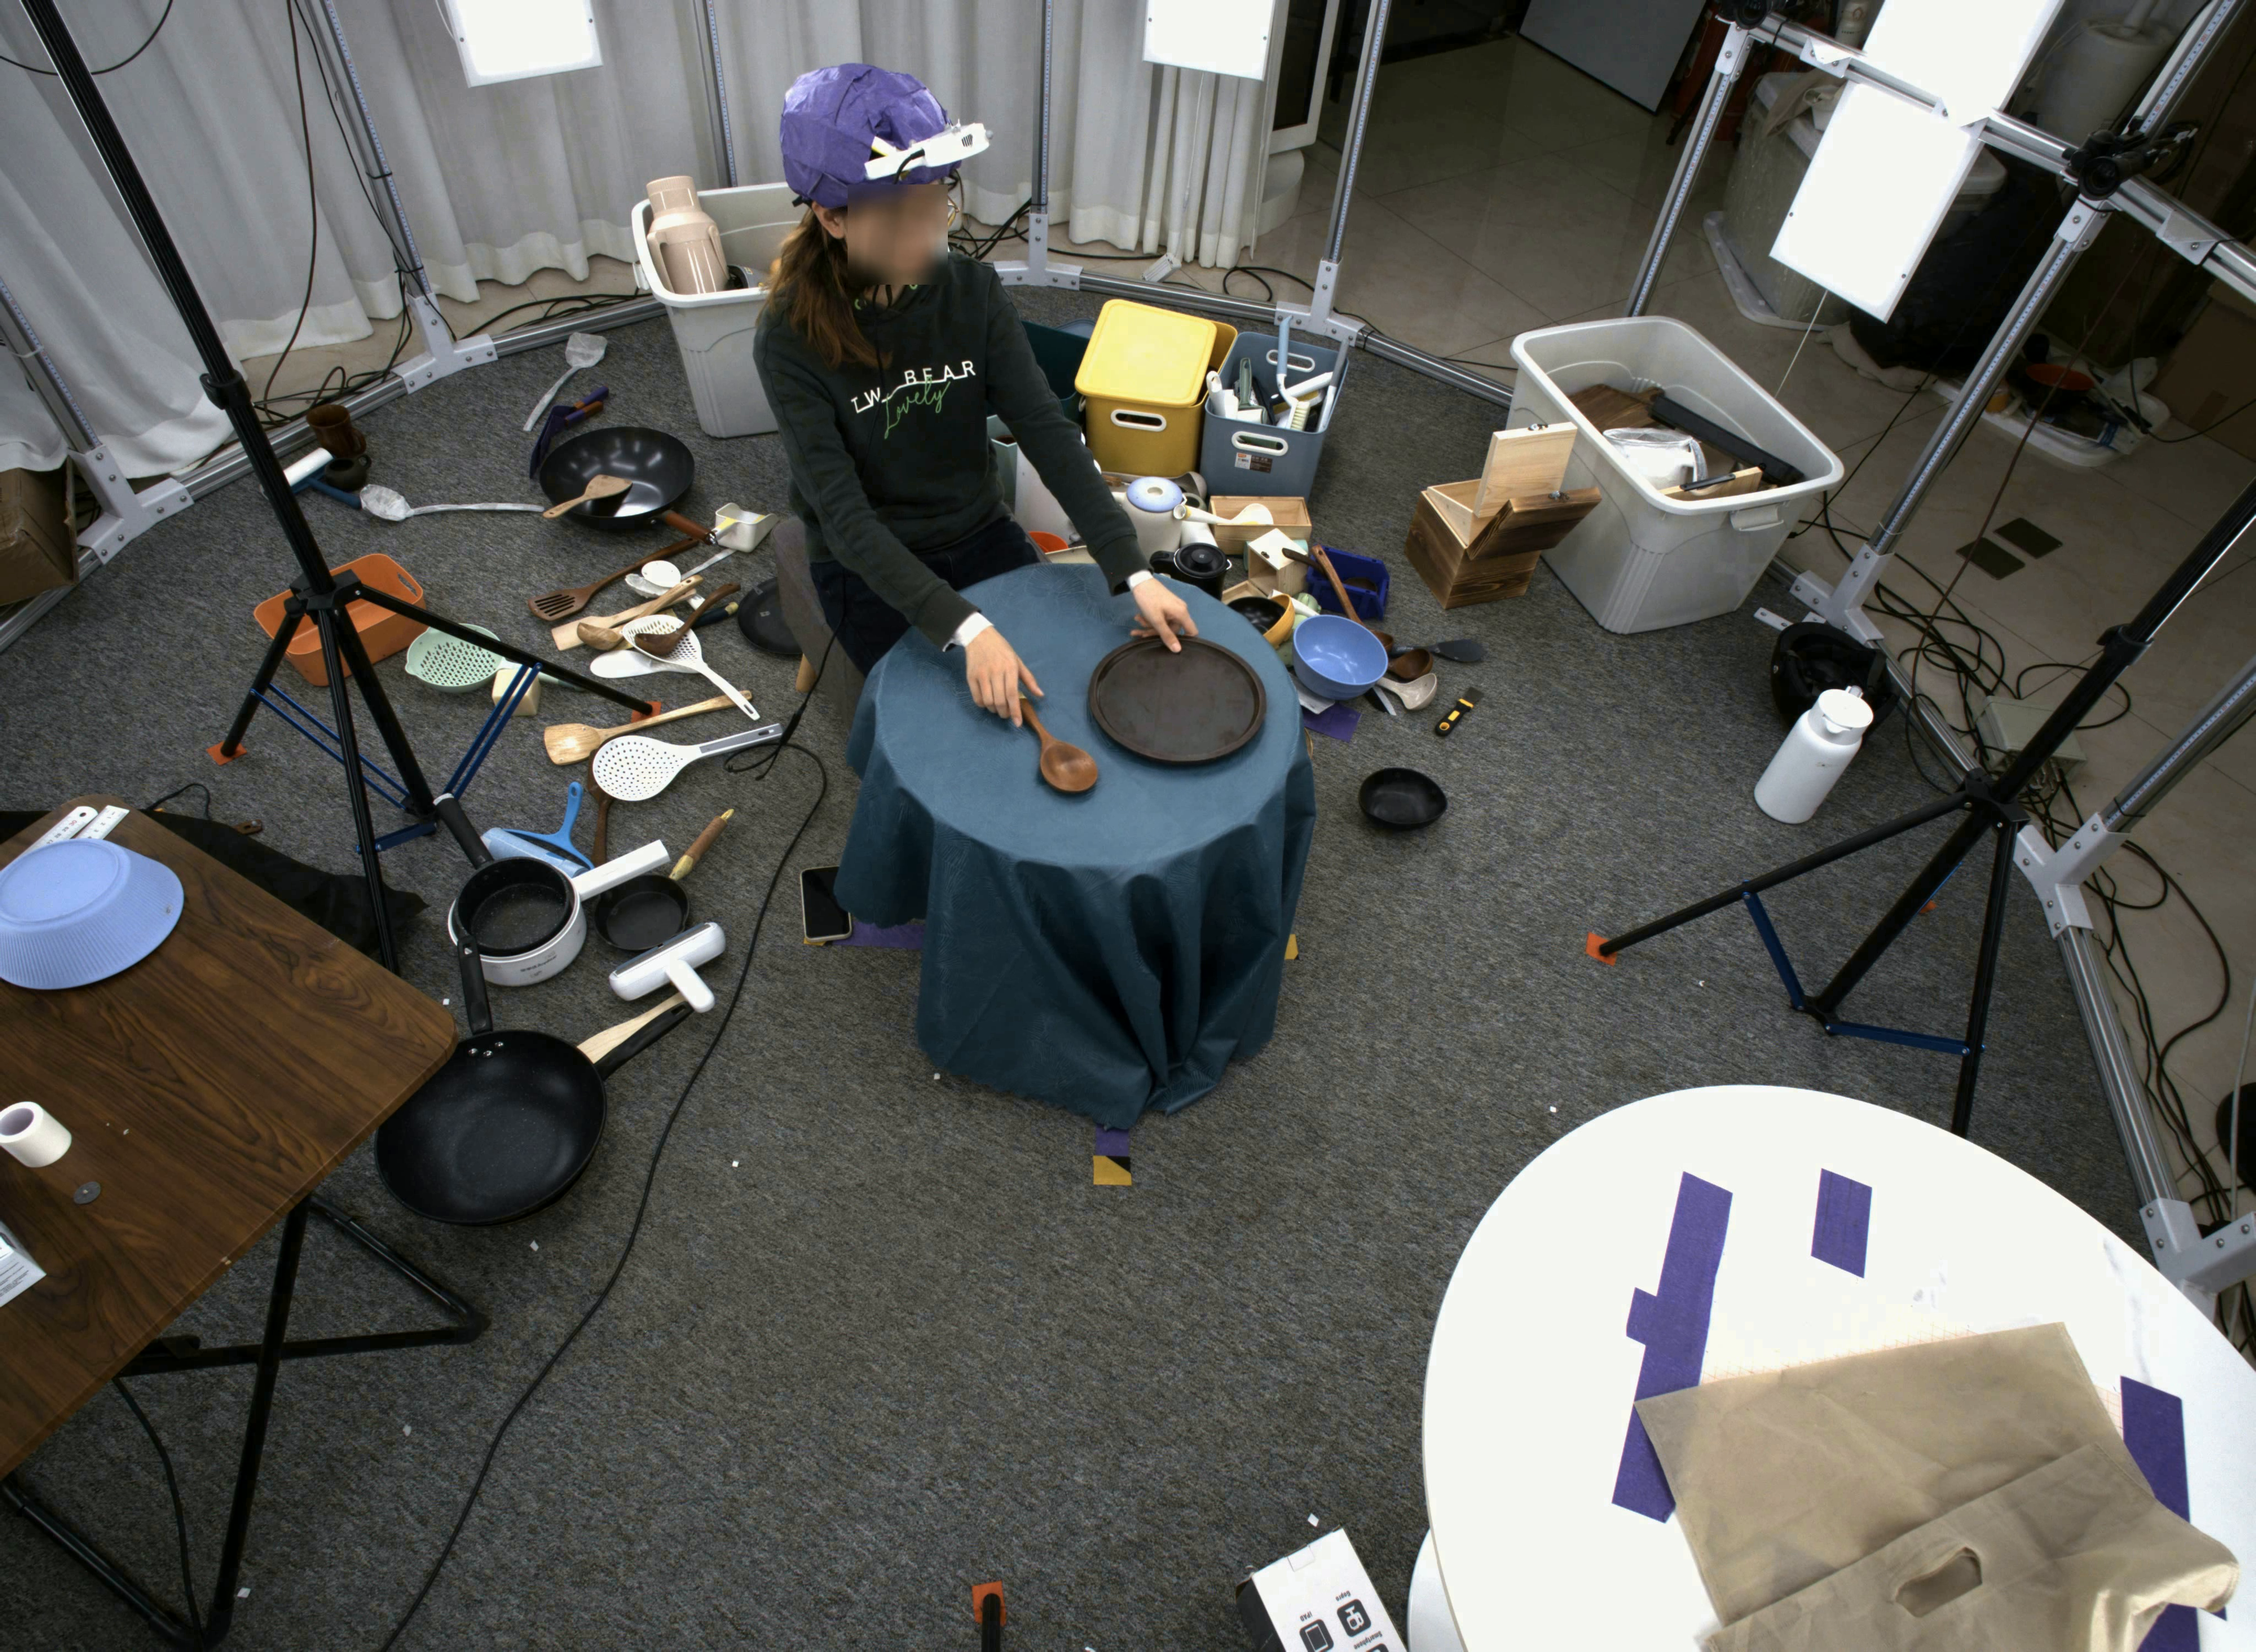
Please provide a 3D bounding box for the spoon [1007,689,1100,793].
[{"bbox_3d":[-0.110,-0.118,1.768,0.076,0.017,0.220,-22,54,-21],"label":"spoon"}]

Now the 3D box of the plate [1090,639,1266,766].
[{"bbox_3d":[0.071,-0.178,1.830,0.254,0.028,0.261,3,49,-3],"label":"plate"}]
